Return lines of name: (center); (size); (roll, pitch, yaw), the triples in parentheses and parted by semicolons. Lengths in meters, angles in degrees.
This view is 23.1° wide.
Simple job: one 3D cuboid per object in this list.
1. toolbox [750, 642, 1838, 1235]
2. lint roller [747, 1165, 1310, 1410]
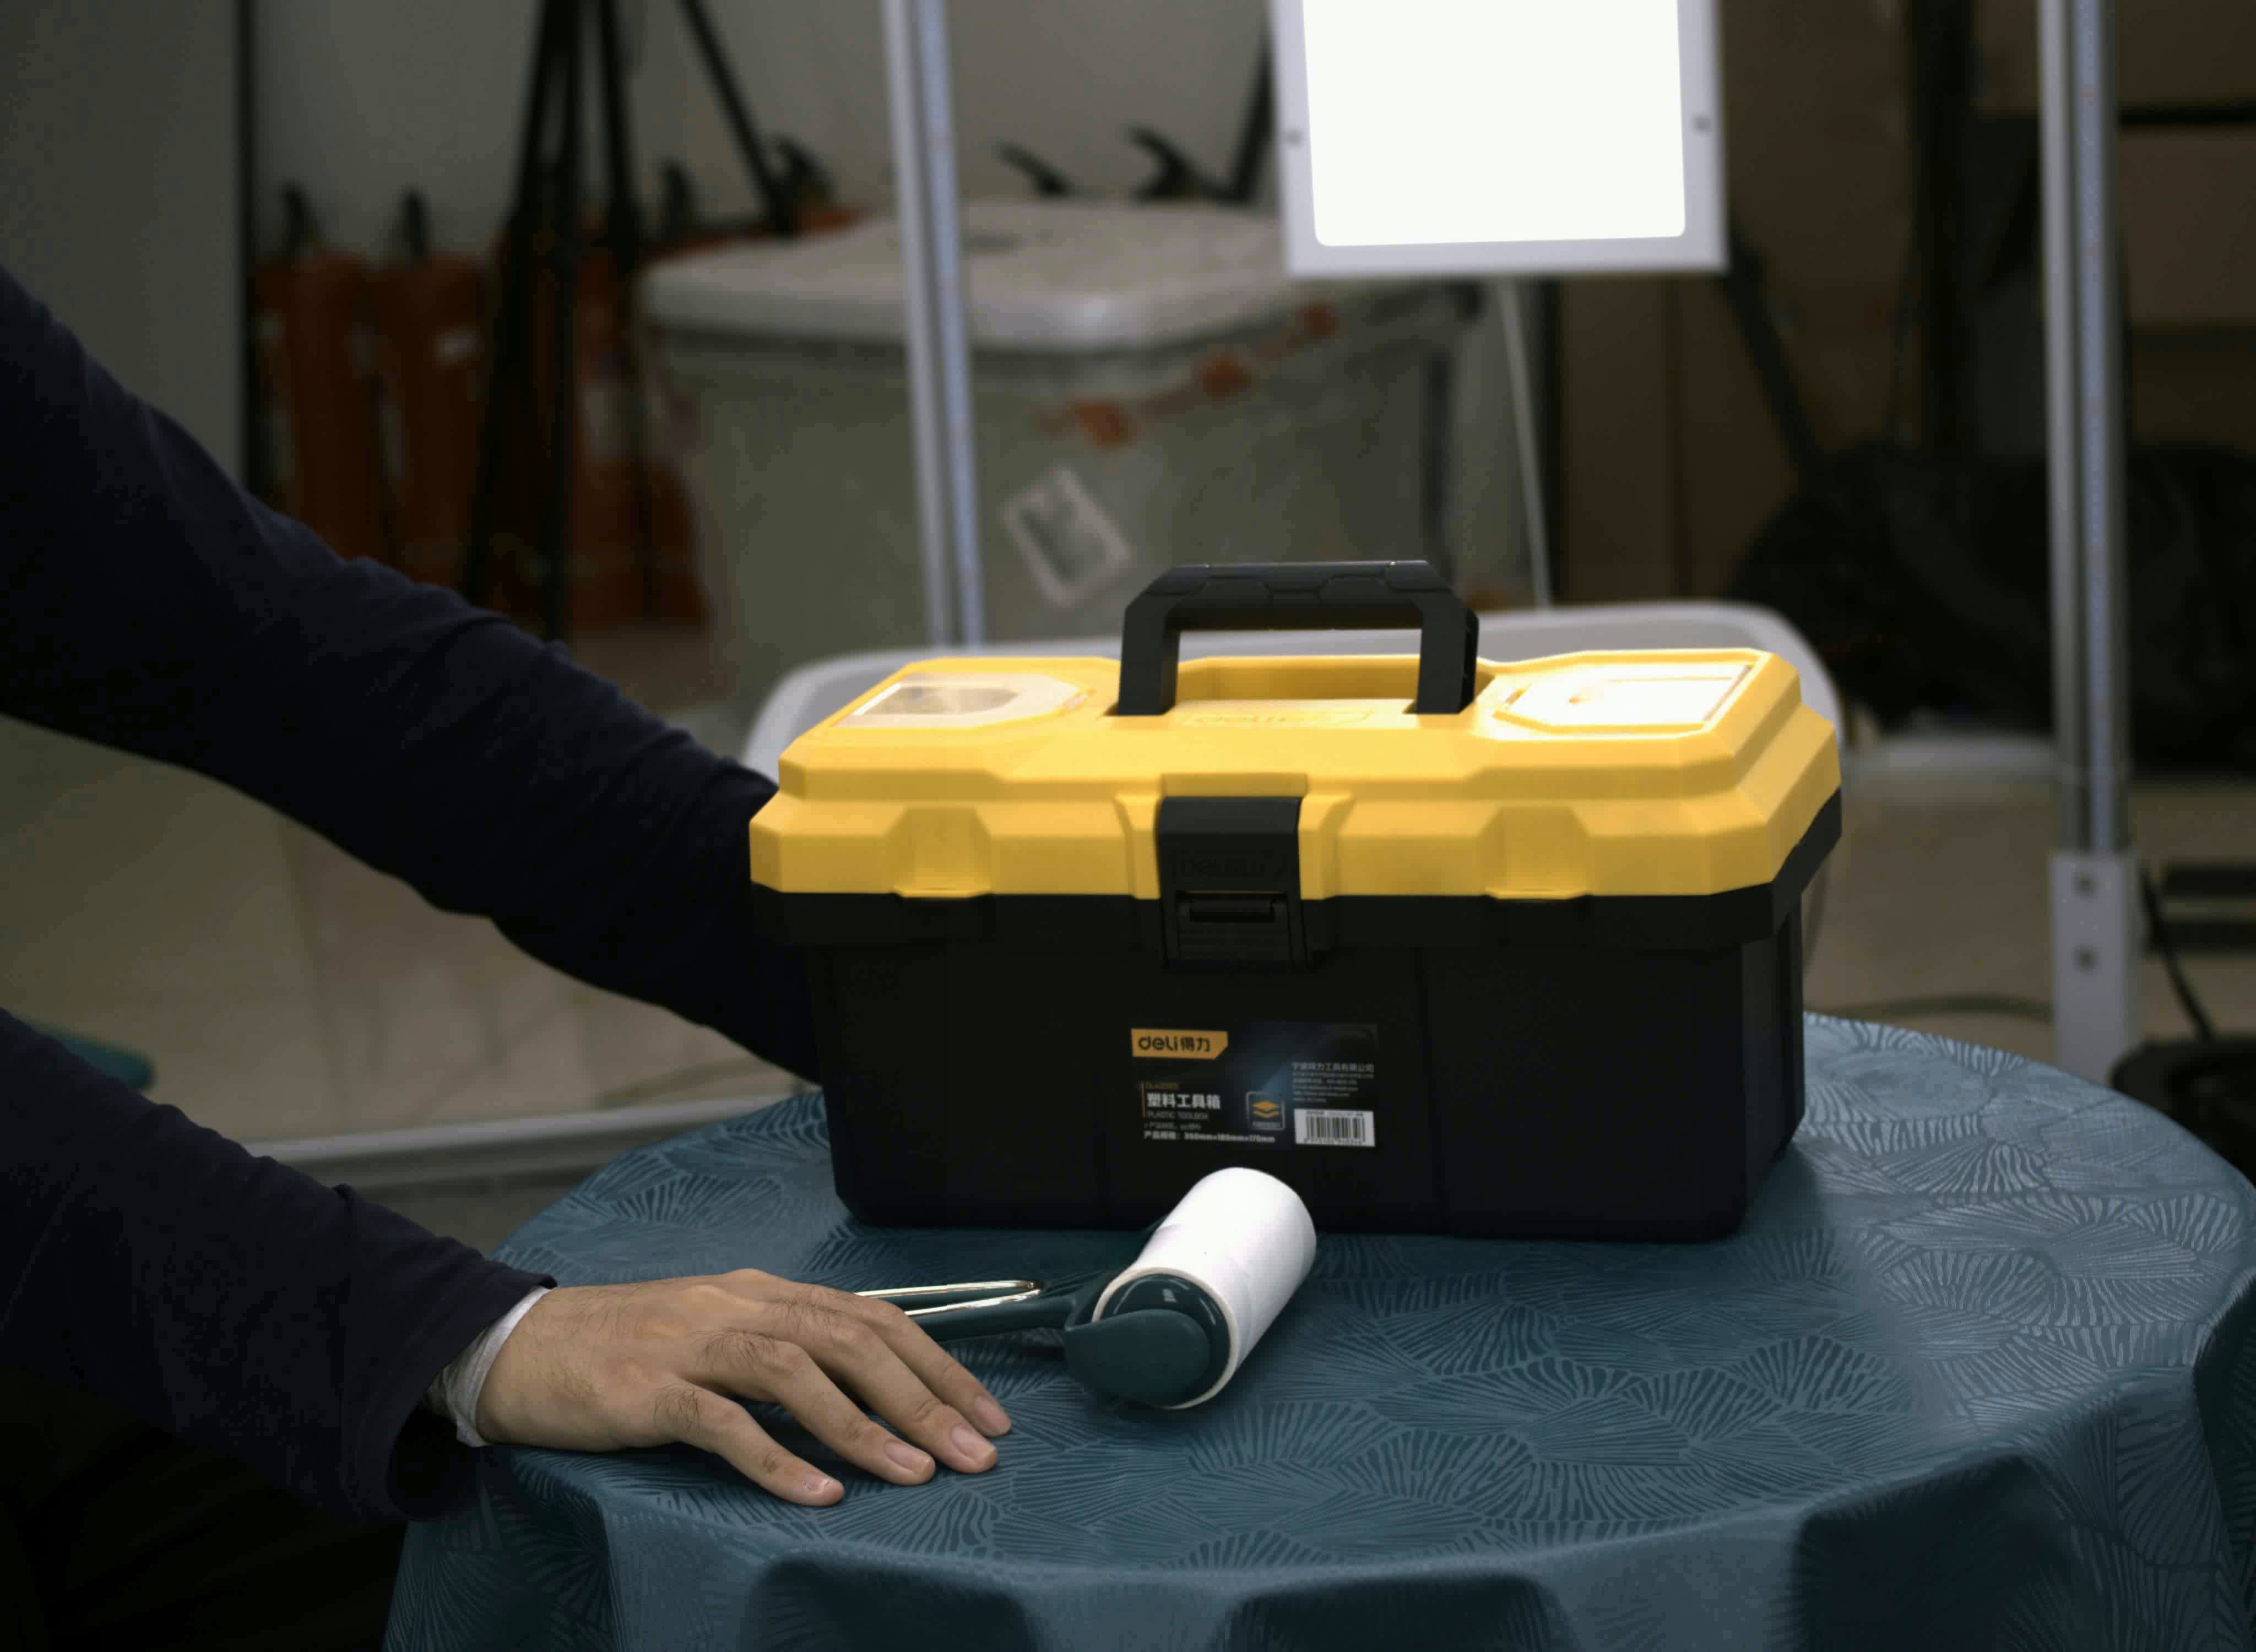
toolbox: (0.060, 0.039, 1.875); (0.356, 0.173, 0.178); (-1, 14, 20)
lint roller: (-0.040, 0.149, 1.745); (0.182, 0.048, 0.132); (-5, 14, 19)
